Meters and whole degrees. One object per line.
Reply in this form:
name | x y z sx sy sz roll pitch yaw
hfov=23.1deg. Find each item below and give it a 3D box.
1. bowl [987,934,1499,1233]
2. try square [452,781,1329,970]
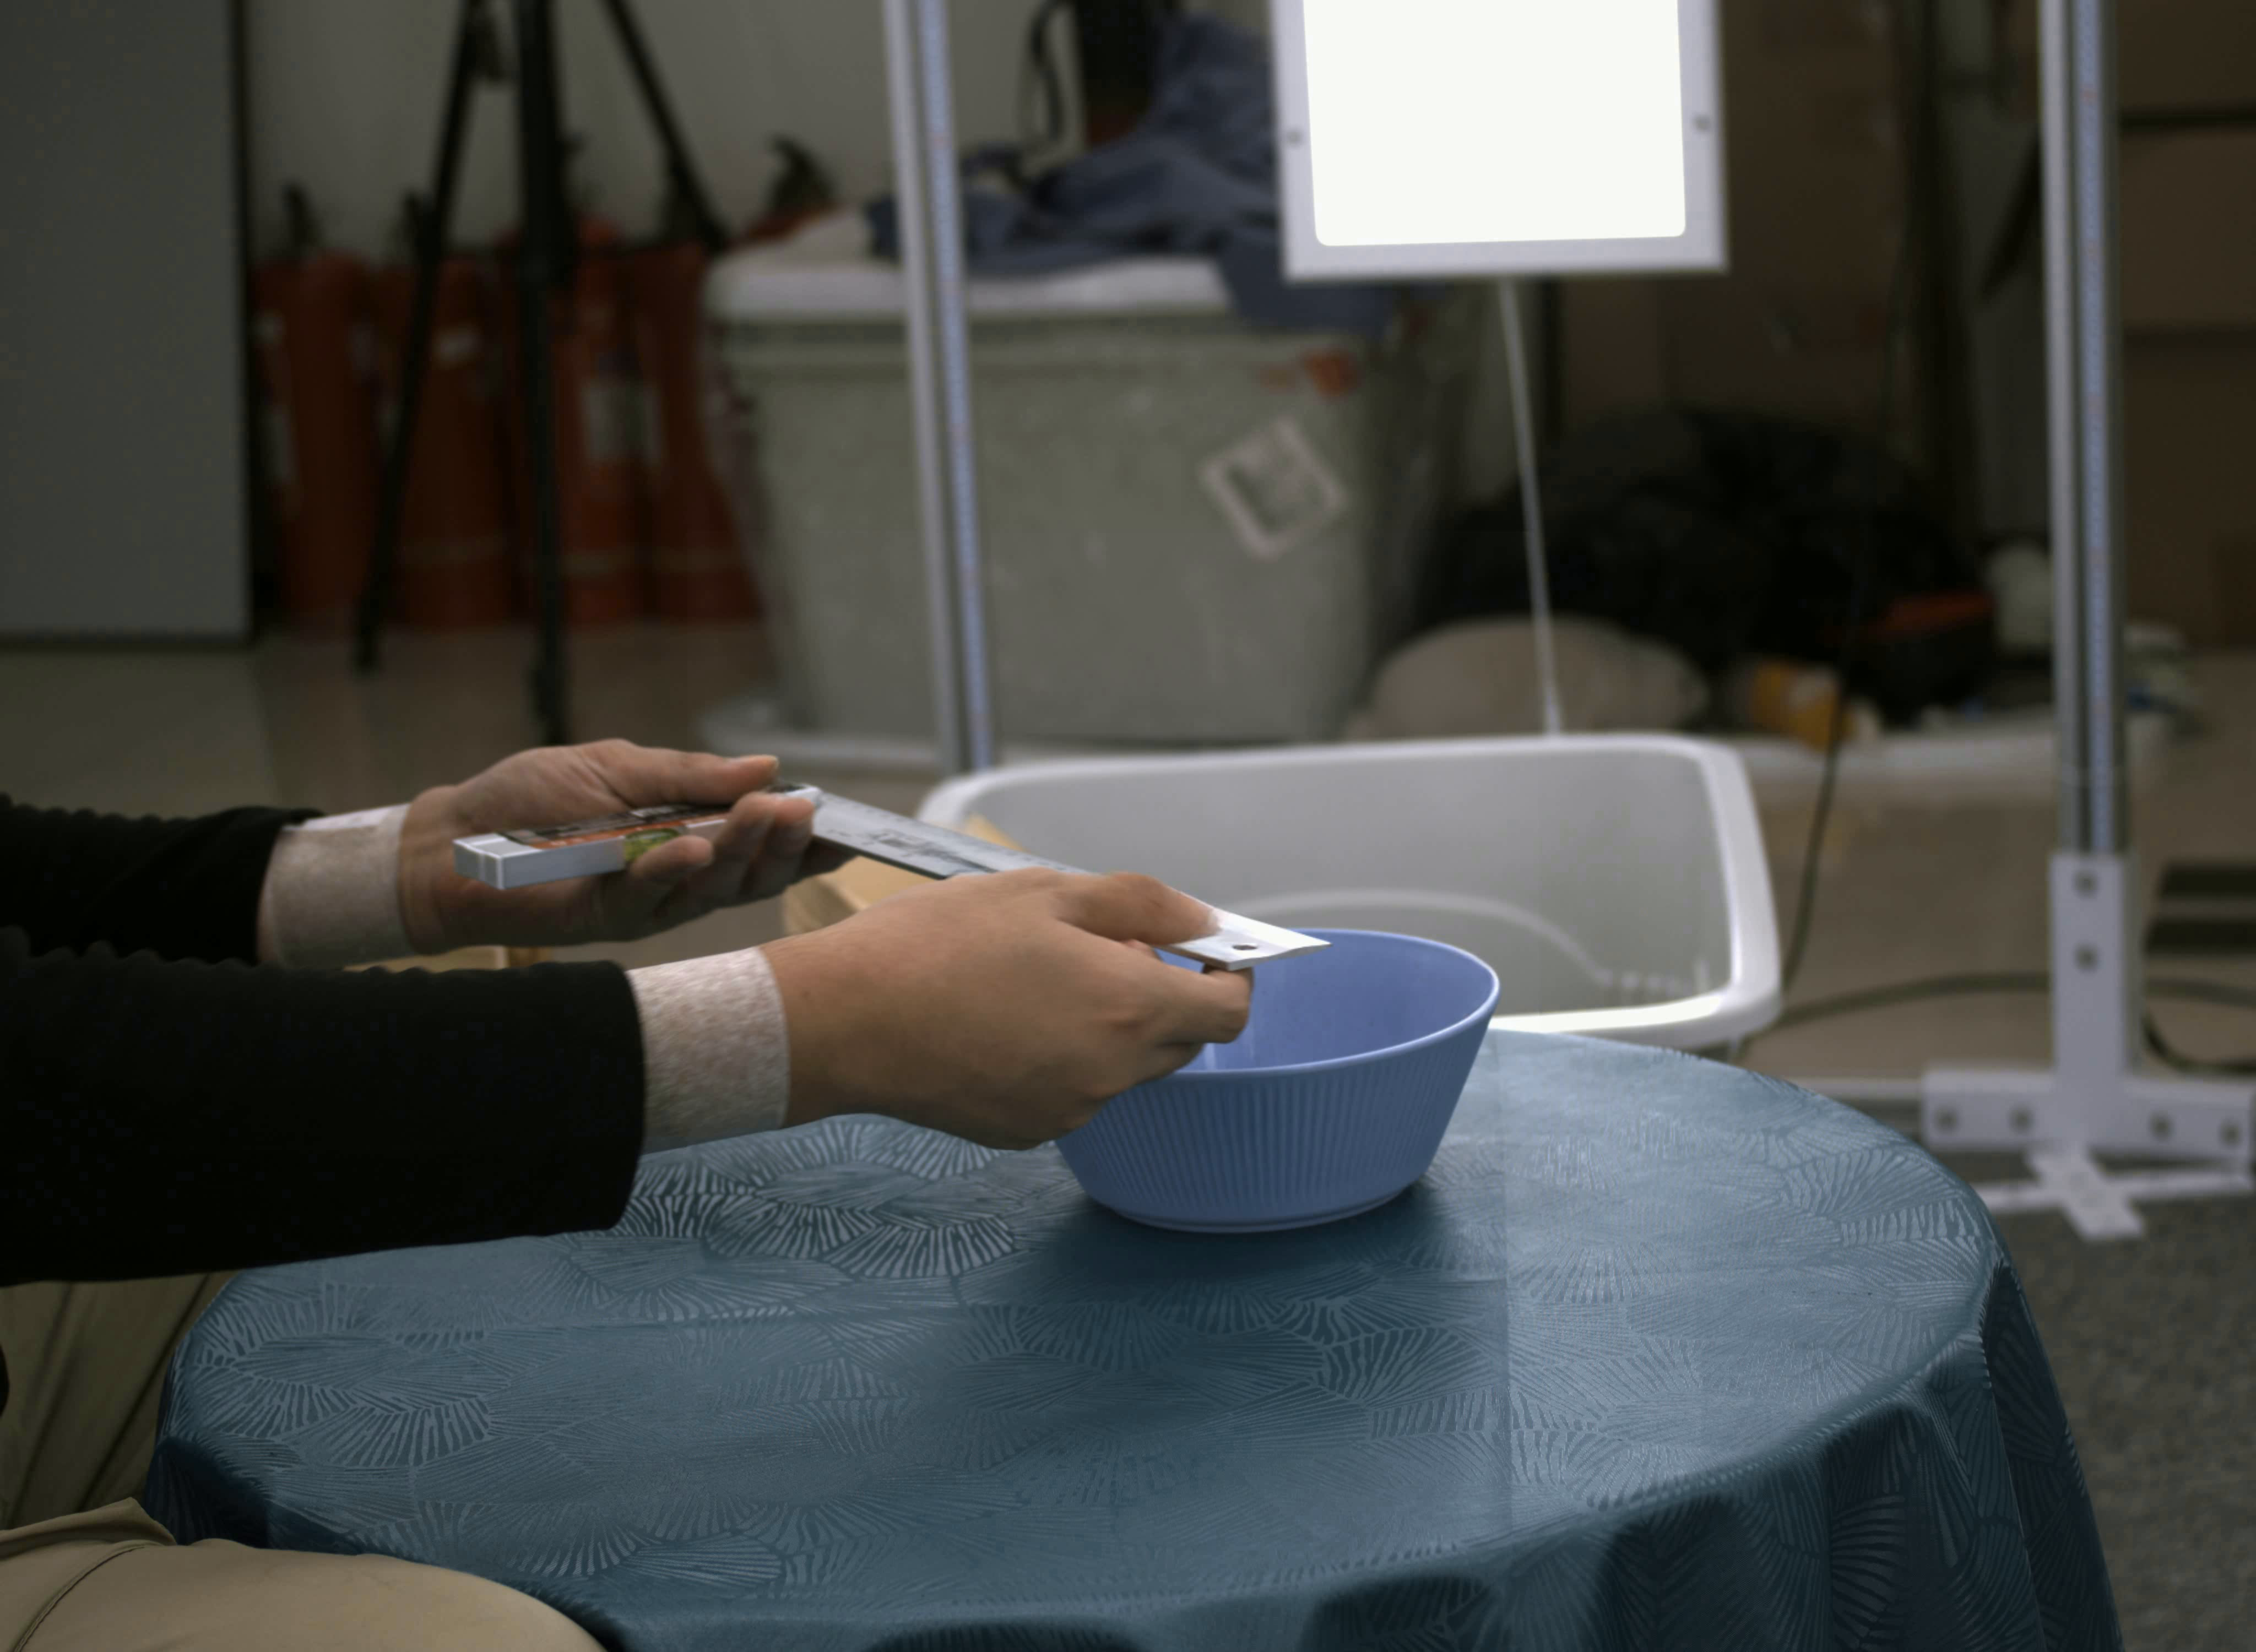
bowl | 0.041 0.090 1.885 0.175 0.070 0.176 -5 14 0
try square | -0.085 0.025 1.808 0.149 0.016 0.319 -13 16 -31
